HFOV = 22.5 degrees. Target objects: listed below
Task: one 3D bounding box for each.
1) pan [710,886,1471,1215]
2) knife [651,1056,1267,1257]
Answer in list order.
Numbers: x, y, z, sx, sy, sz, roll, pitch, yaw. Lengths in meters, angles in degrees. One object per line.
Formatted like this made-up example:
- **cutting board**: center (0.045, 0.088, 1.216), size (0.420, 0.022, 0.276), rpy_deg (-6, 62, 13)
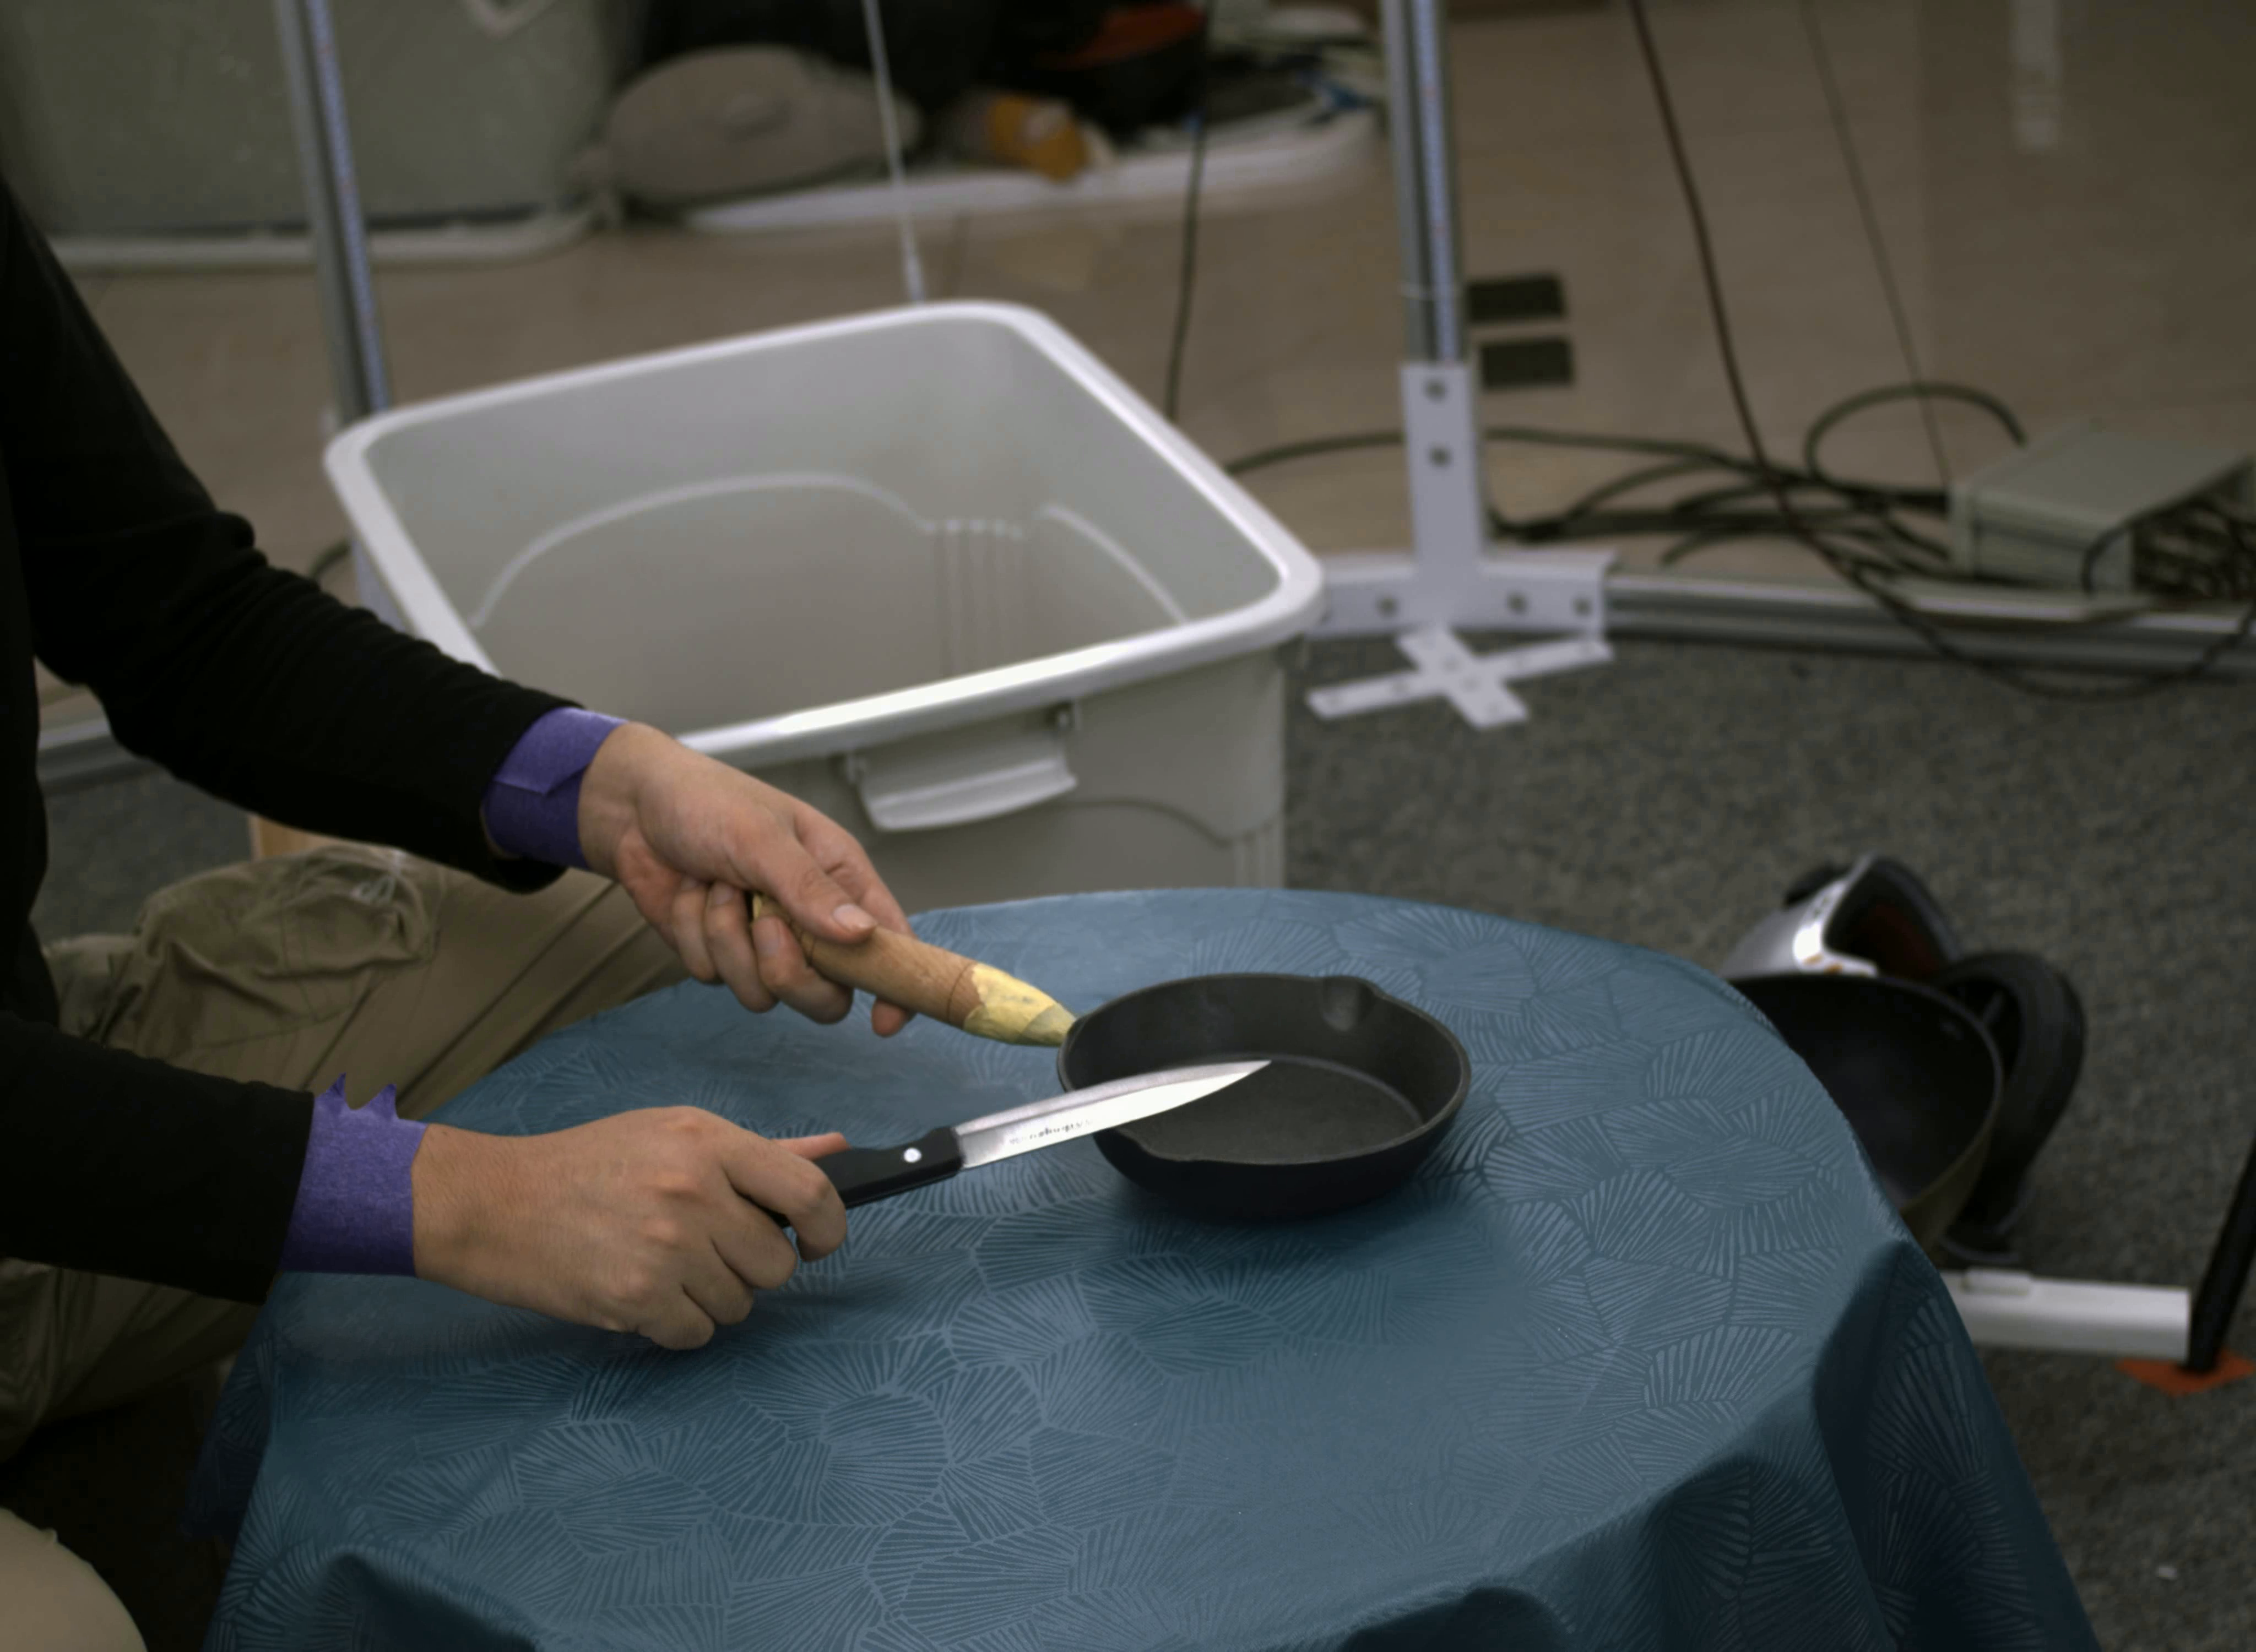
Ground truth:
- **pan**: center (-0.022, 0.080, 2.189), size (0.322, 0.050, 0.167), rpy_deg (14, 29, 27)
- **knife**: center (-0.060, 0.120, 2.097), size (0.237, 0.016, 0.024), rpy_deg (-16, 50, -9)
